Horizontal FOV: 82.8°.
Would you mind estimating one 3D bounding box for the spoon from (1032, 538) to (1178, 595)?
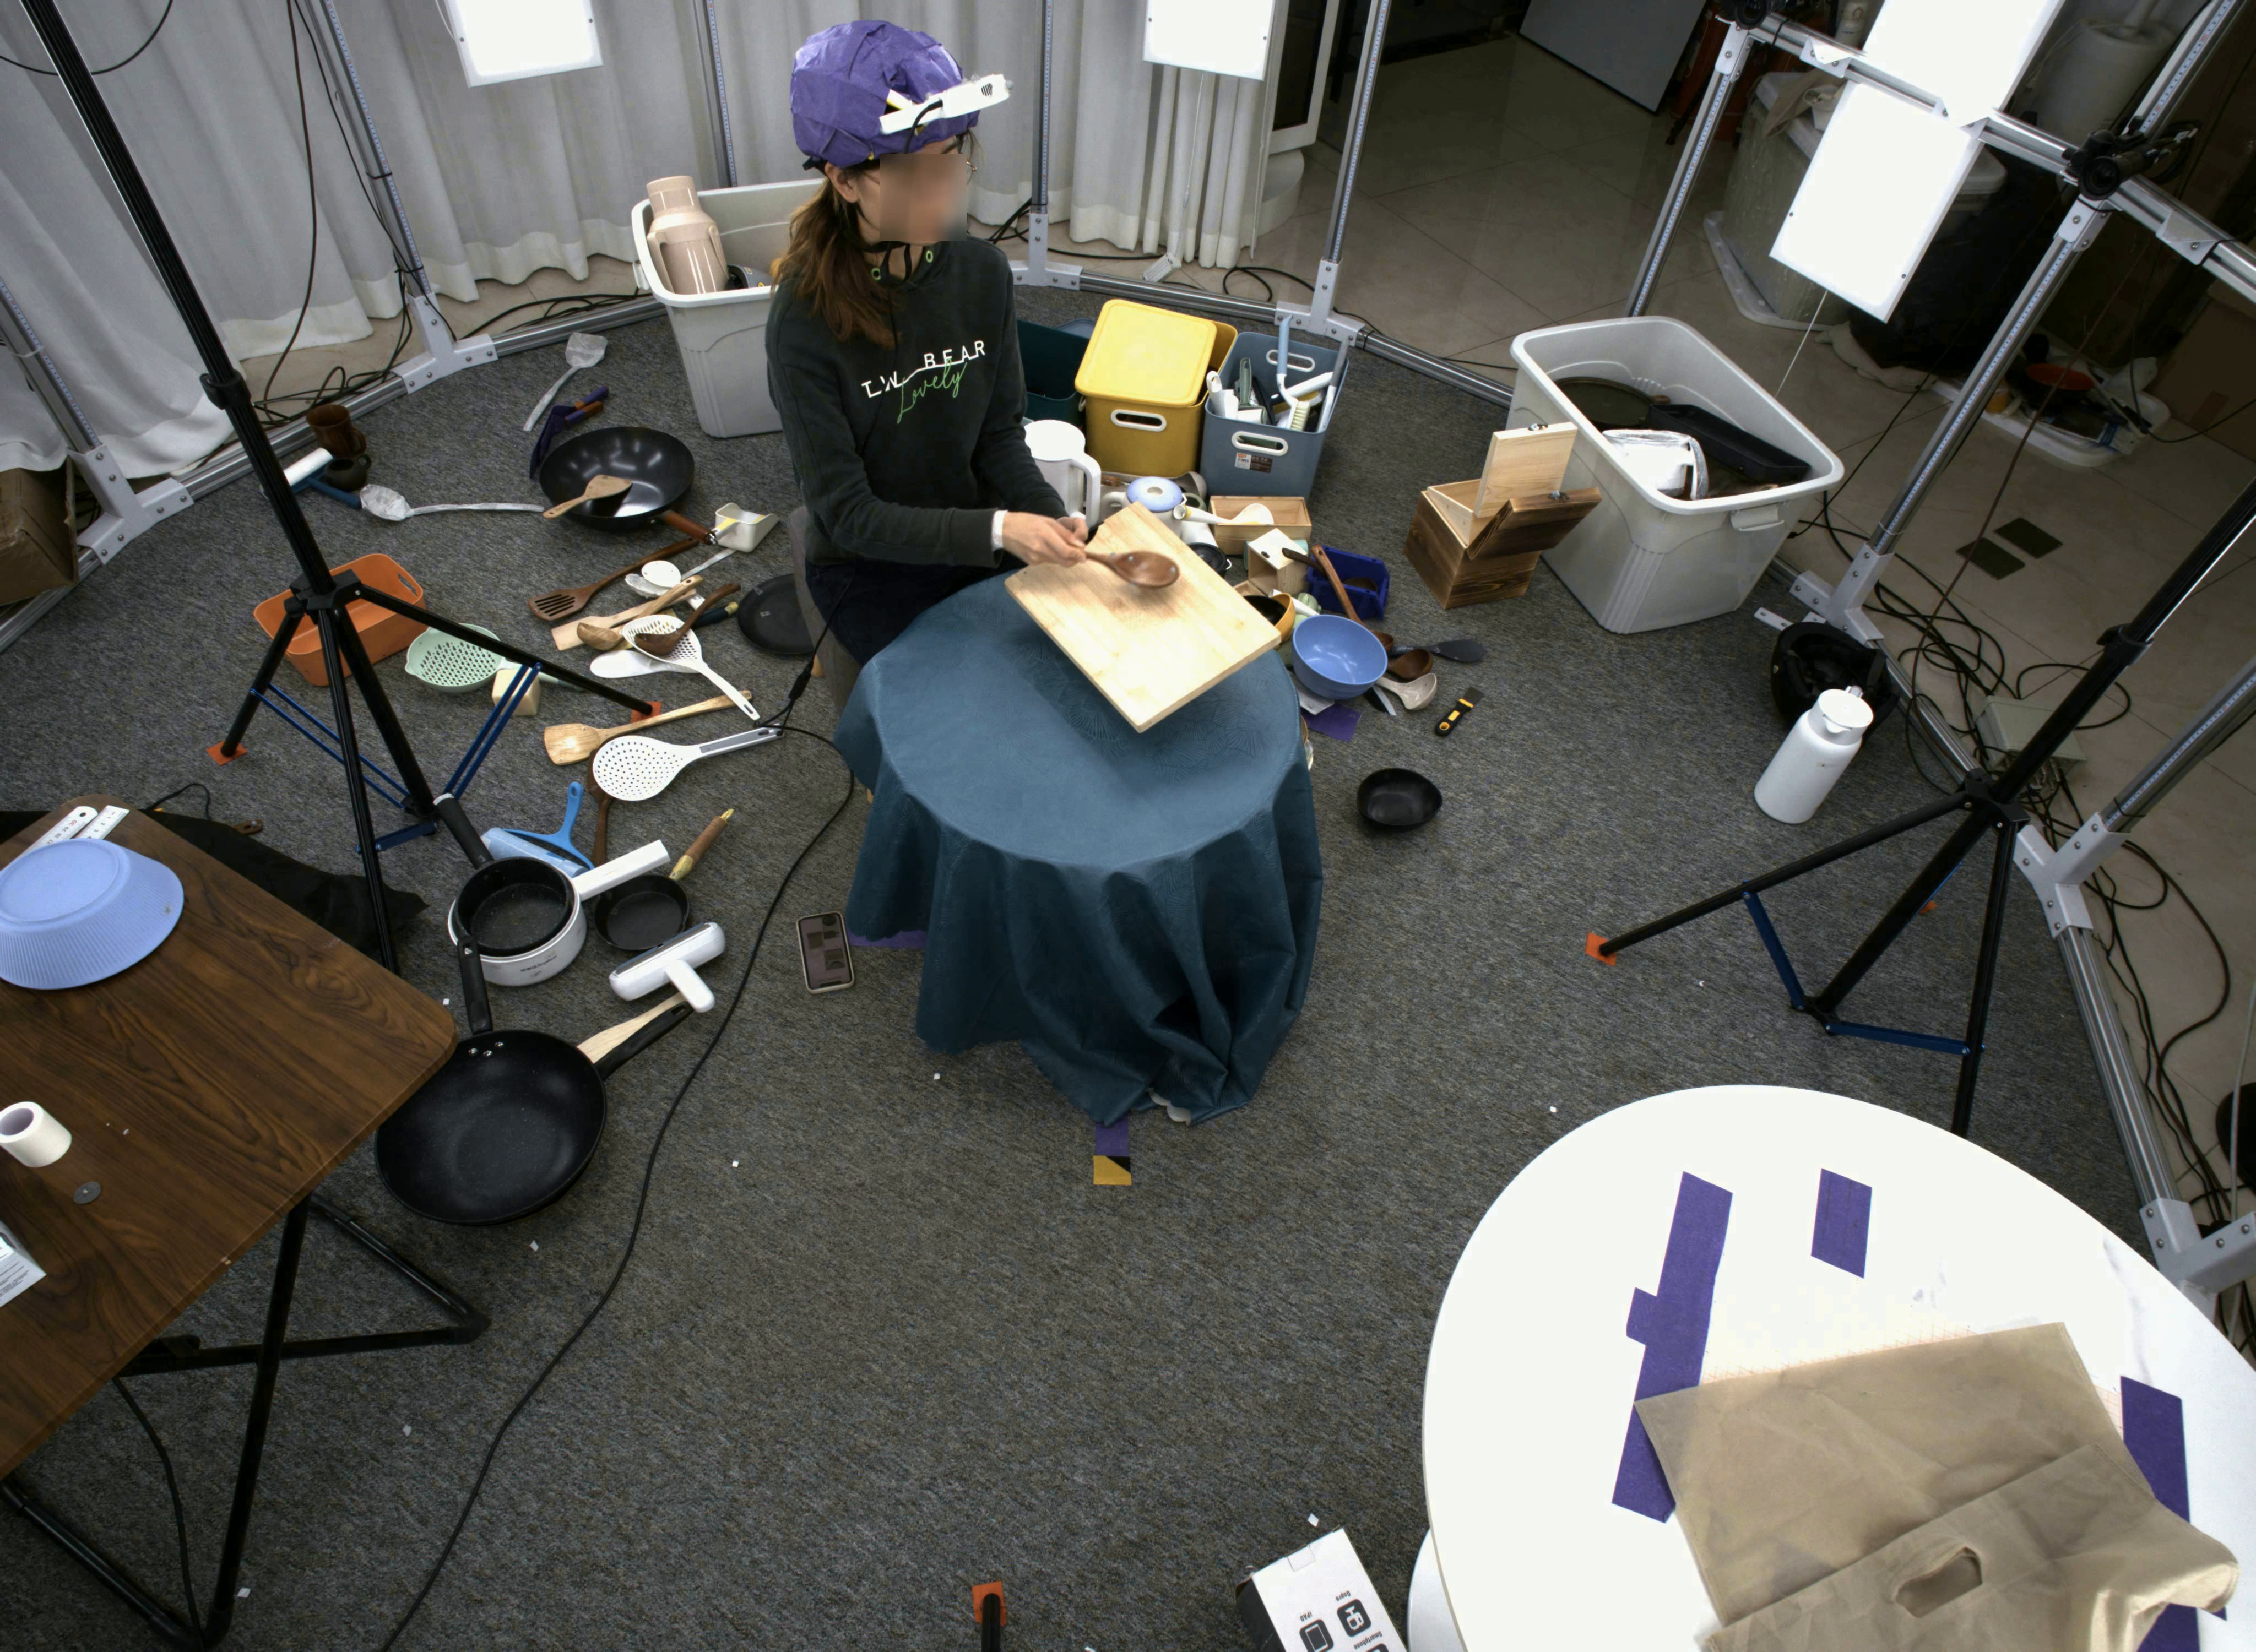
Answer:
[{"bbox_3d":[-0.033,-0.367,1.803,0.217,0.017,0.077,18,51,11],"label":"spoon"}]

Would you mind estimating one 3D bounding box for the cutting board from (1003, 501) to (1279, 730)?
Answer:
[{"bbox_3d":[0.013,-0.305,1.818,0.252,0.023,0.355,-33,57,-14],"label":"cutting board"}]
